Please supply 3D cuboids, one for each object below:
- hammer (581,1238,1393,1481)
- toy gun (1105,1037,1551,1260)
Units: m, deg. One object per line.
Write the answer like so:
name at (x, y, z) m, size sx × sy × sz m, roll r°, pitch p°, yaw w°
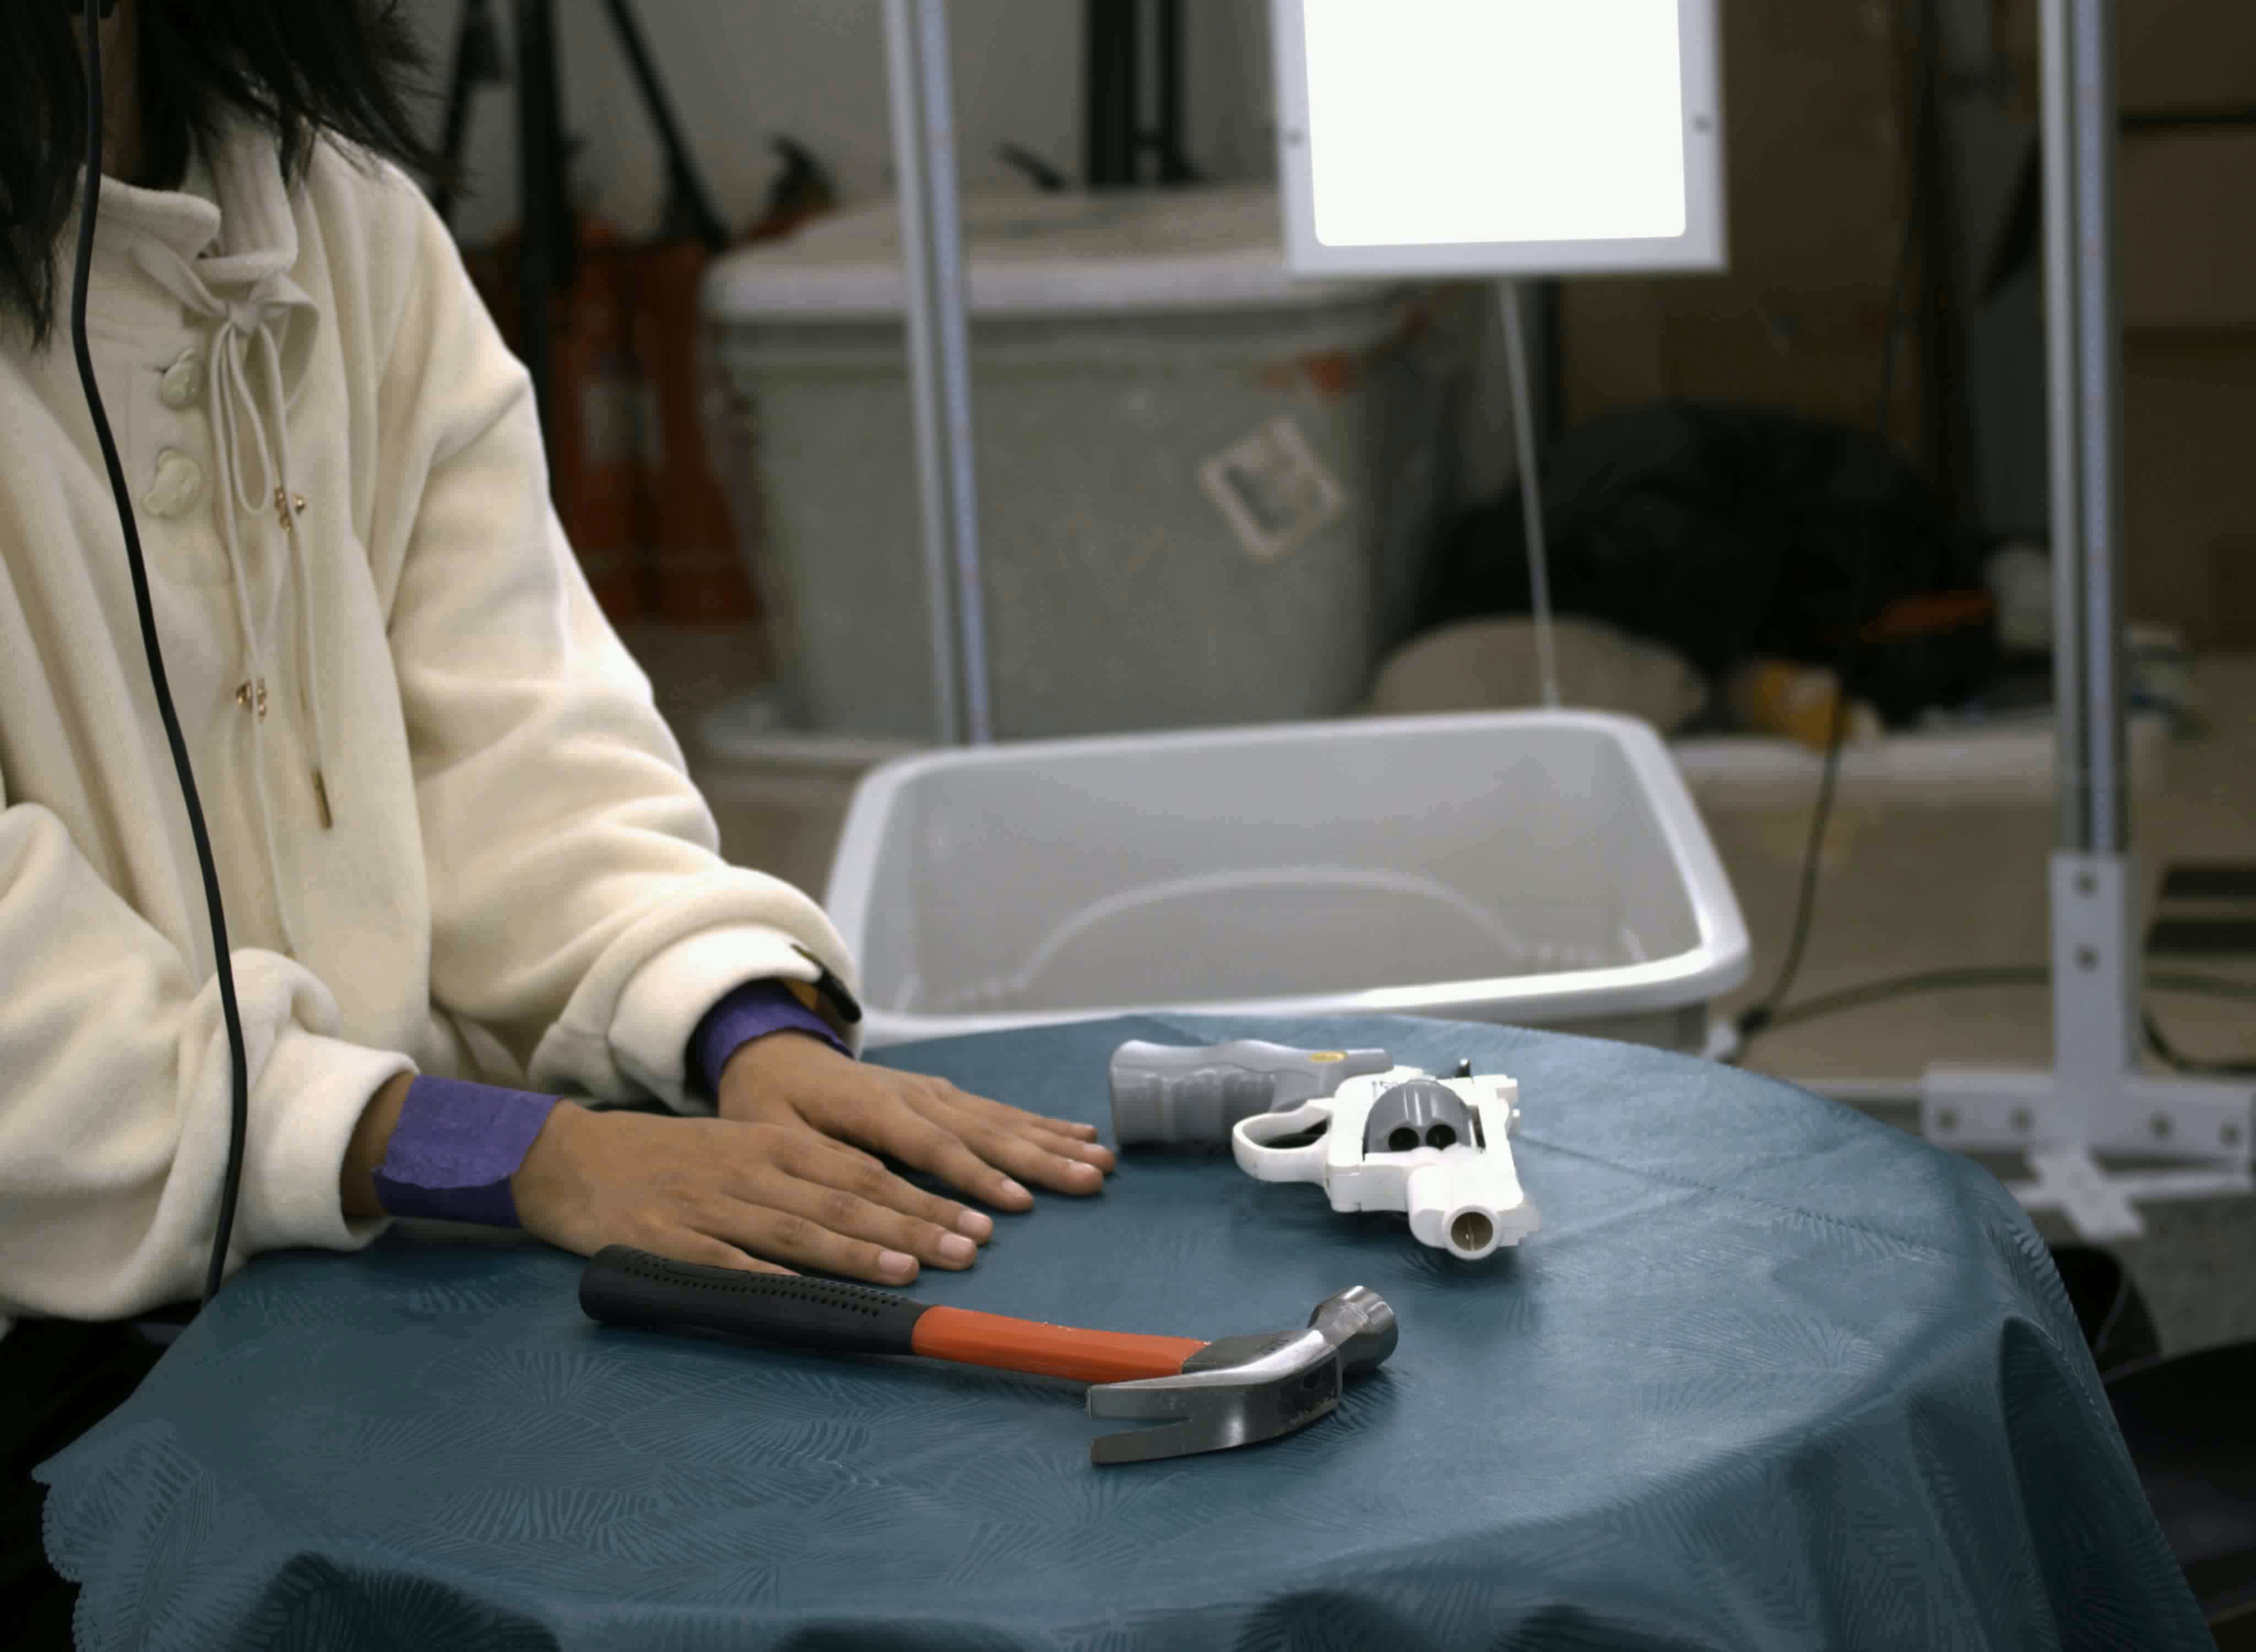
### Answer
hammer at (-0.059, 0.158, 1.733) m, size 0.283 × 0.026 × 0.108 m, roll 4°, pitch 26°, yaw 35°
toy gun at (0.065, 0.108, 1.869) m, size 0.141 × 0.039 × 0.209 m, roll -4°, pitch 14°, yaw 0°
